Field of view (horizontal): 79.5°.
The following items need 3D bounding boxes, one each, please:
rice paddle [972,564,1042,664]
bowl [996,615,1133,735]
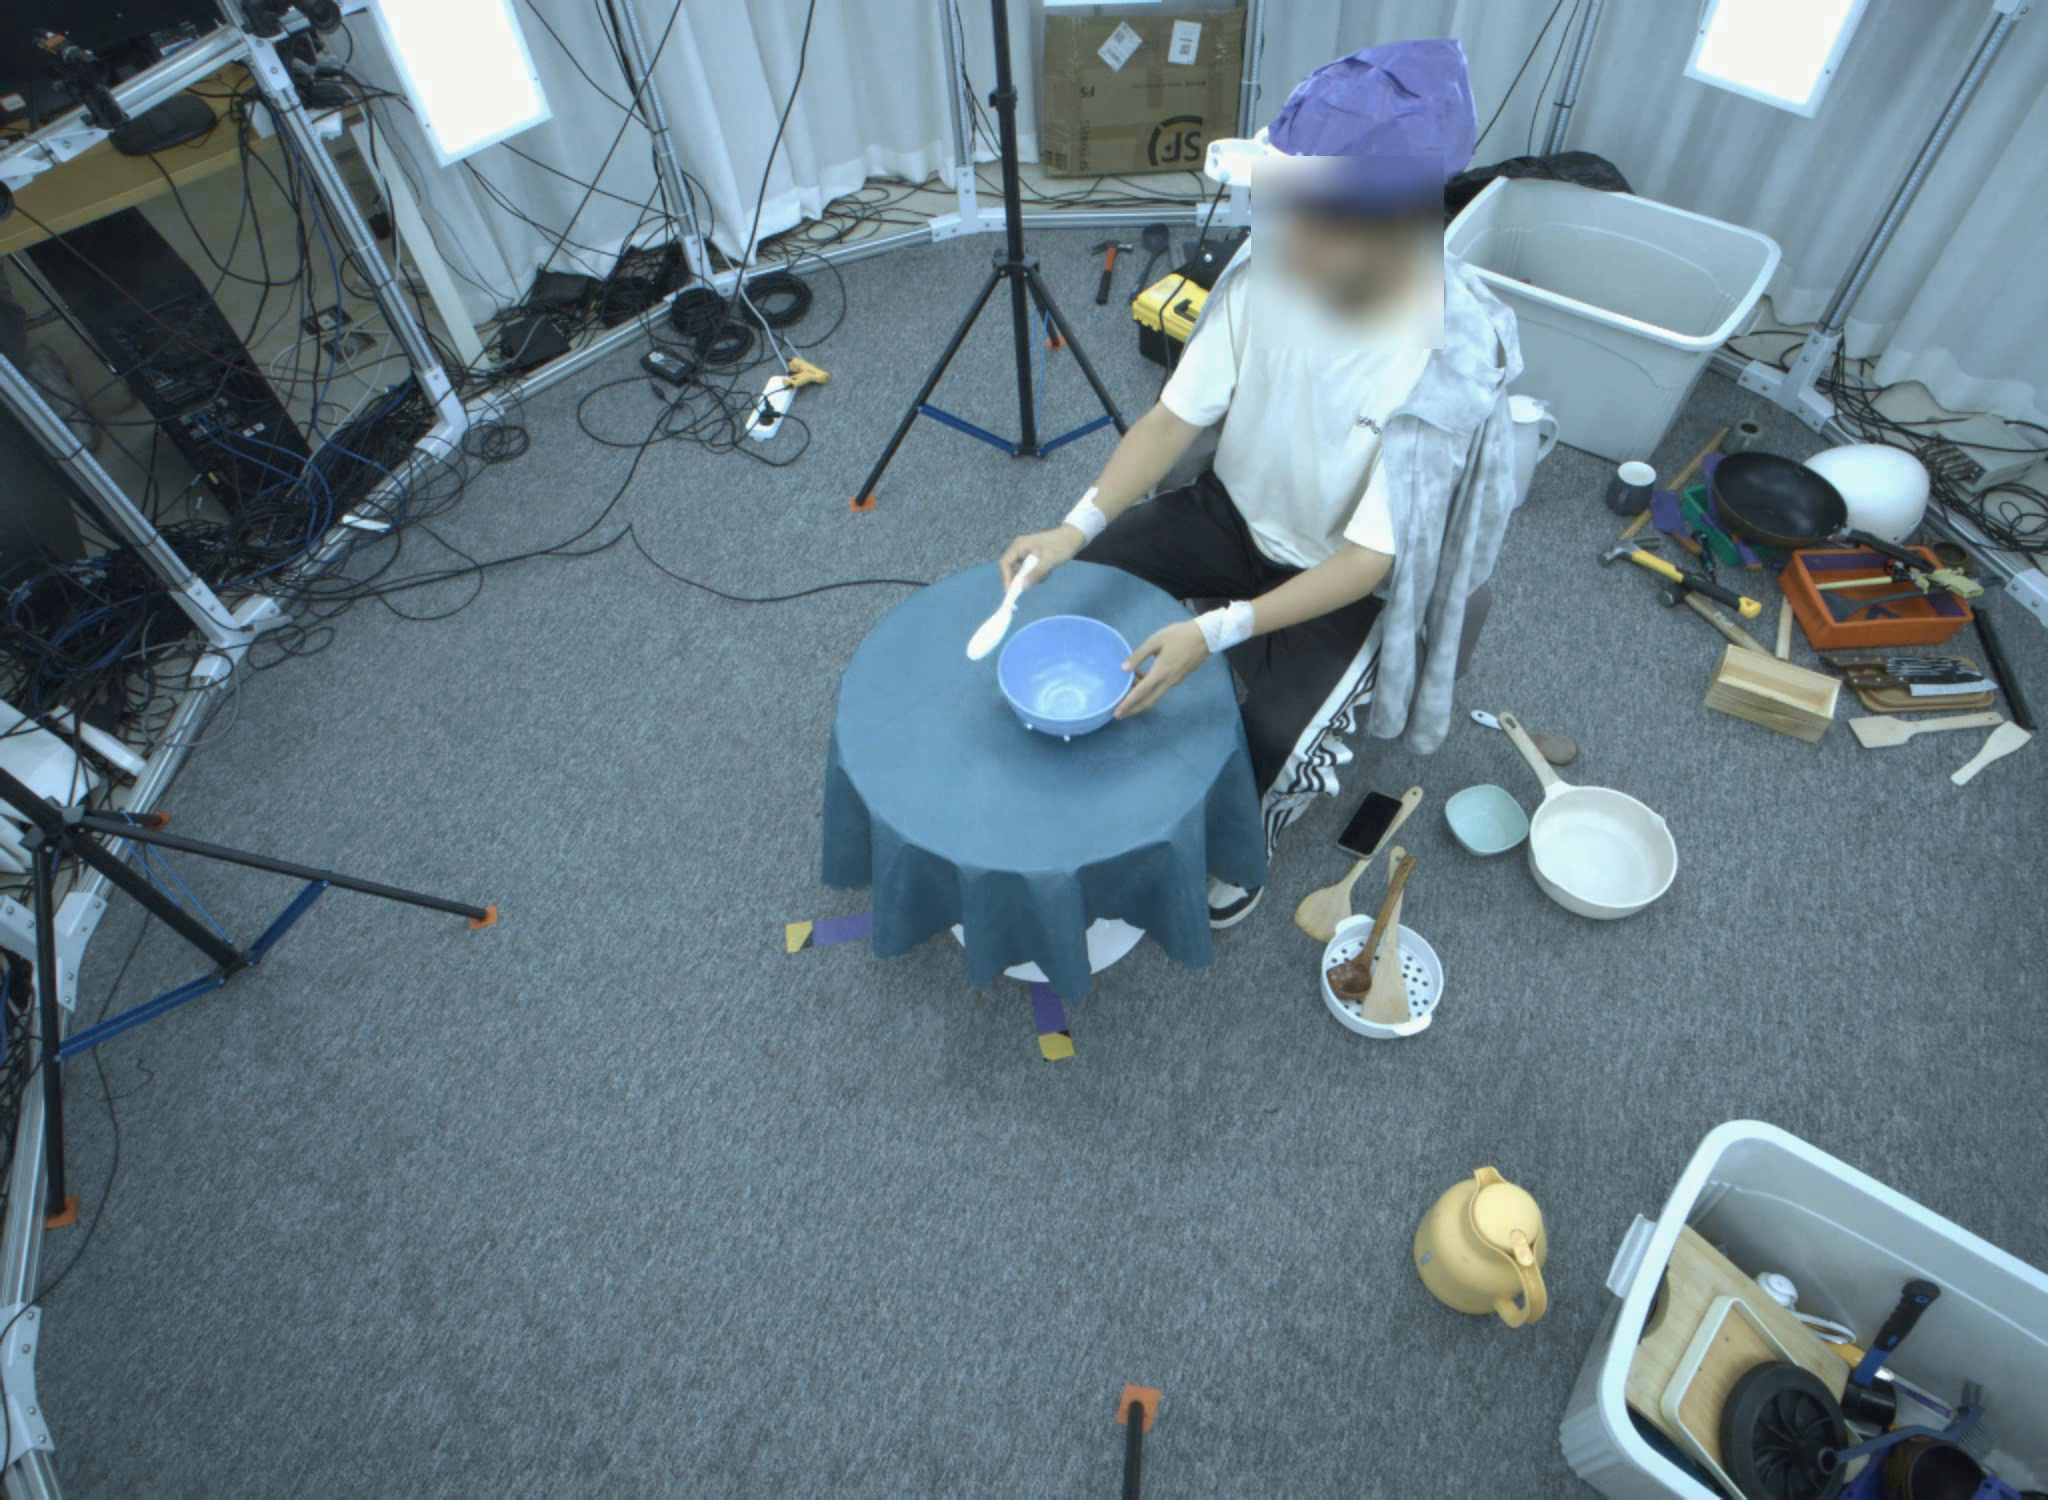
[{"bbox_3d":[-0.022,-0.196,1.777,0.067,0.030,0.205,-3,44,31],"label":"rice paddle"},{"bbox_3d":[0.062,-0.094,1.794,0.196,0.096,0.194,-2,55,4],"label":"bowl"}]
